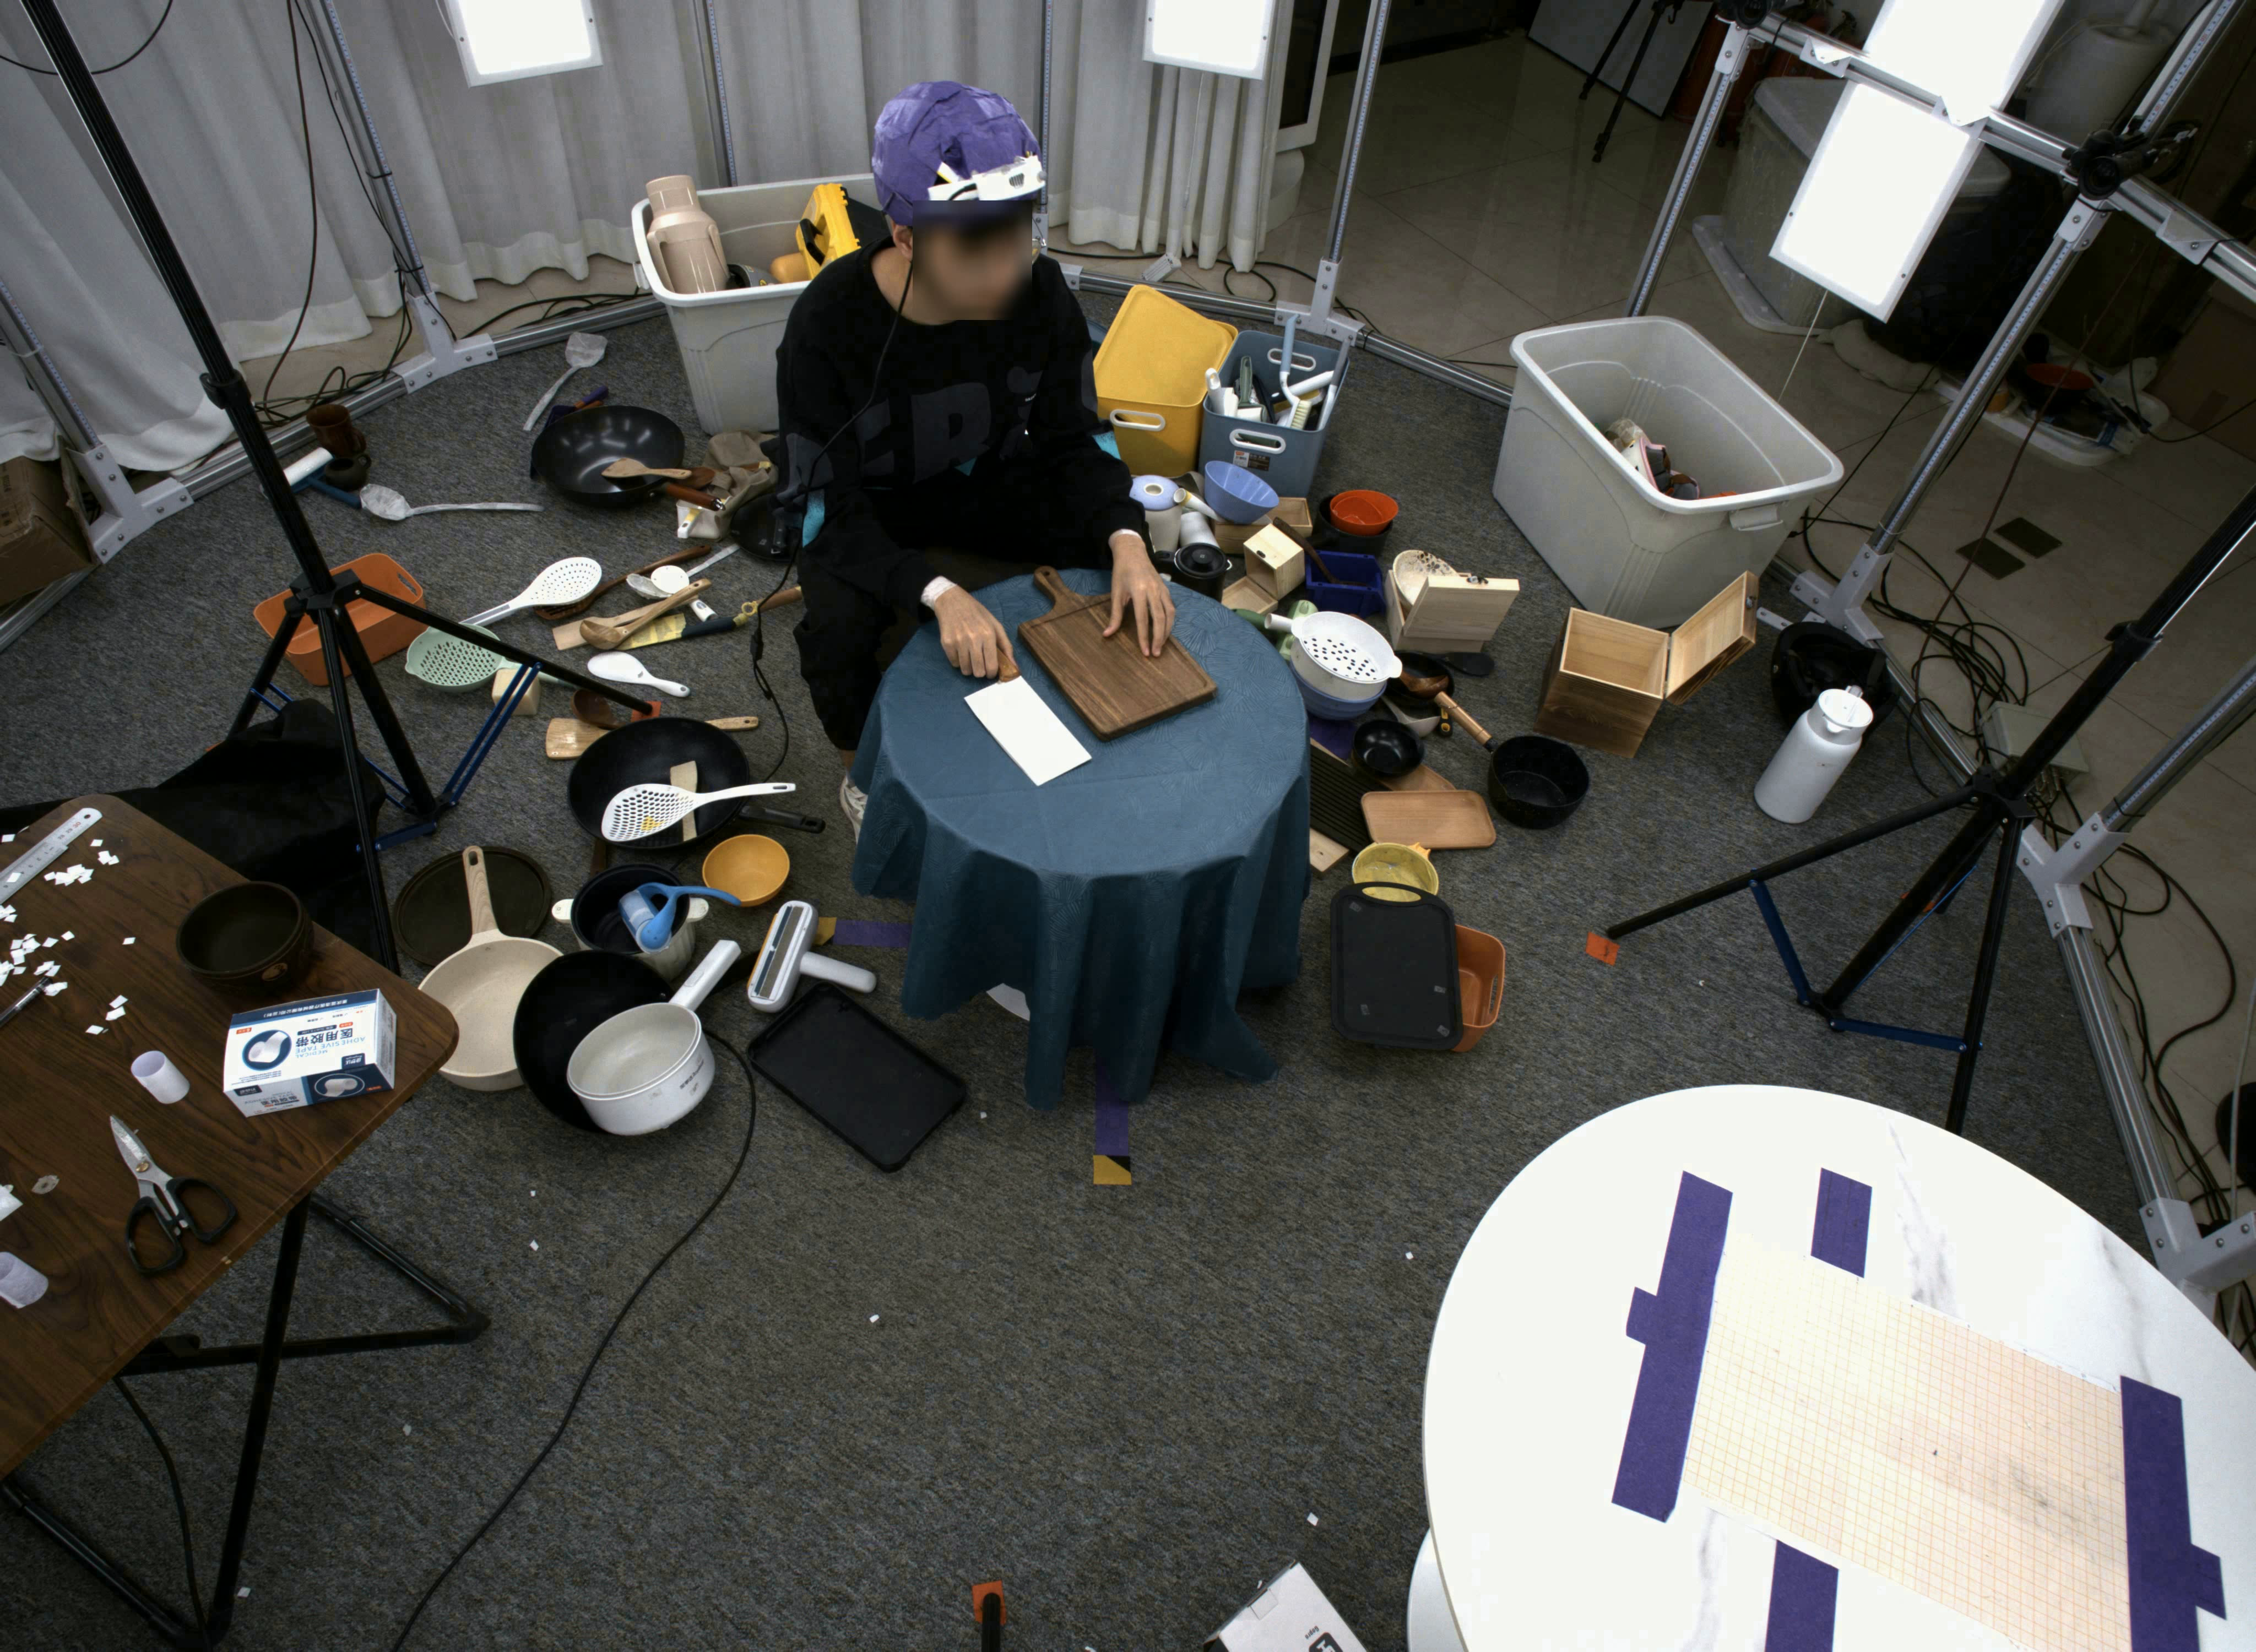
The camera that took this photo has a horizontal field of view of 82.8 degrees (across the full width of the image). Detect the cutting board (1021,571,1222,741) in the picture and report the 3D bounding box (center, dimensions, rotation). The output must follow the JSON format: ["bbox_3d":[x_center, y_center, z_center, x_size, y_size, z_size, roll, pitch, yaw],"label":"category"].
[{"bbox_3d":[-0.037,-0.271,1.892,0.202,0.022,0.359,-22,52,-22],"label":"cutting board"}]

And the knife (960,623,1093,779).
[{"bbox_3d":[-0.166,-0.175,1.800,0.093,0.020,0.311,-28,58,-21],"label":"knife"}]
